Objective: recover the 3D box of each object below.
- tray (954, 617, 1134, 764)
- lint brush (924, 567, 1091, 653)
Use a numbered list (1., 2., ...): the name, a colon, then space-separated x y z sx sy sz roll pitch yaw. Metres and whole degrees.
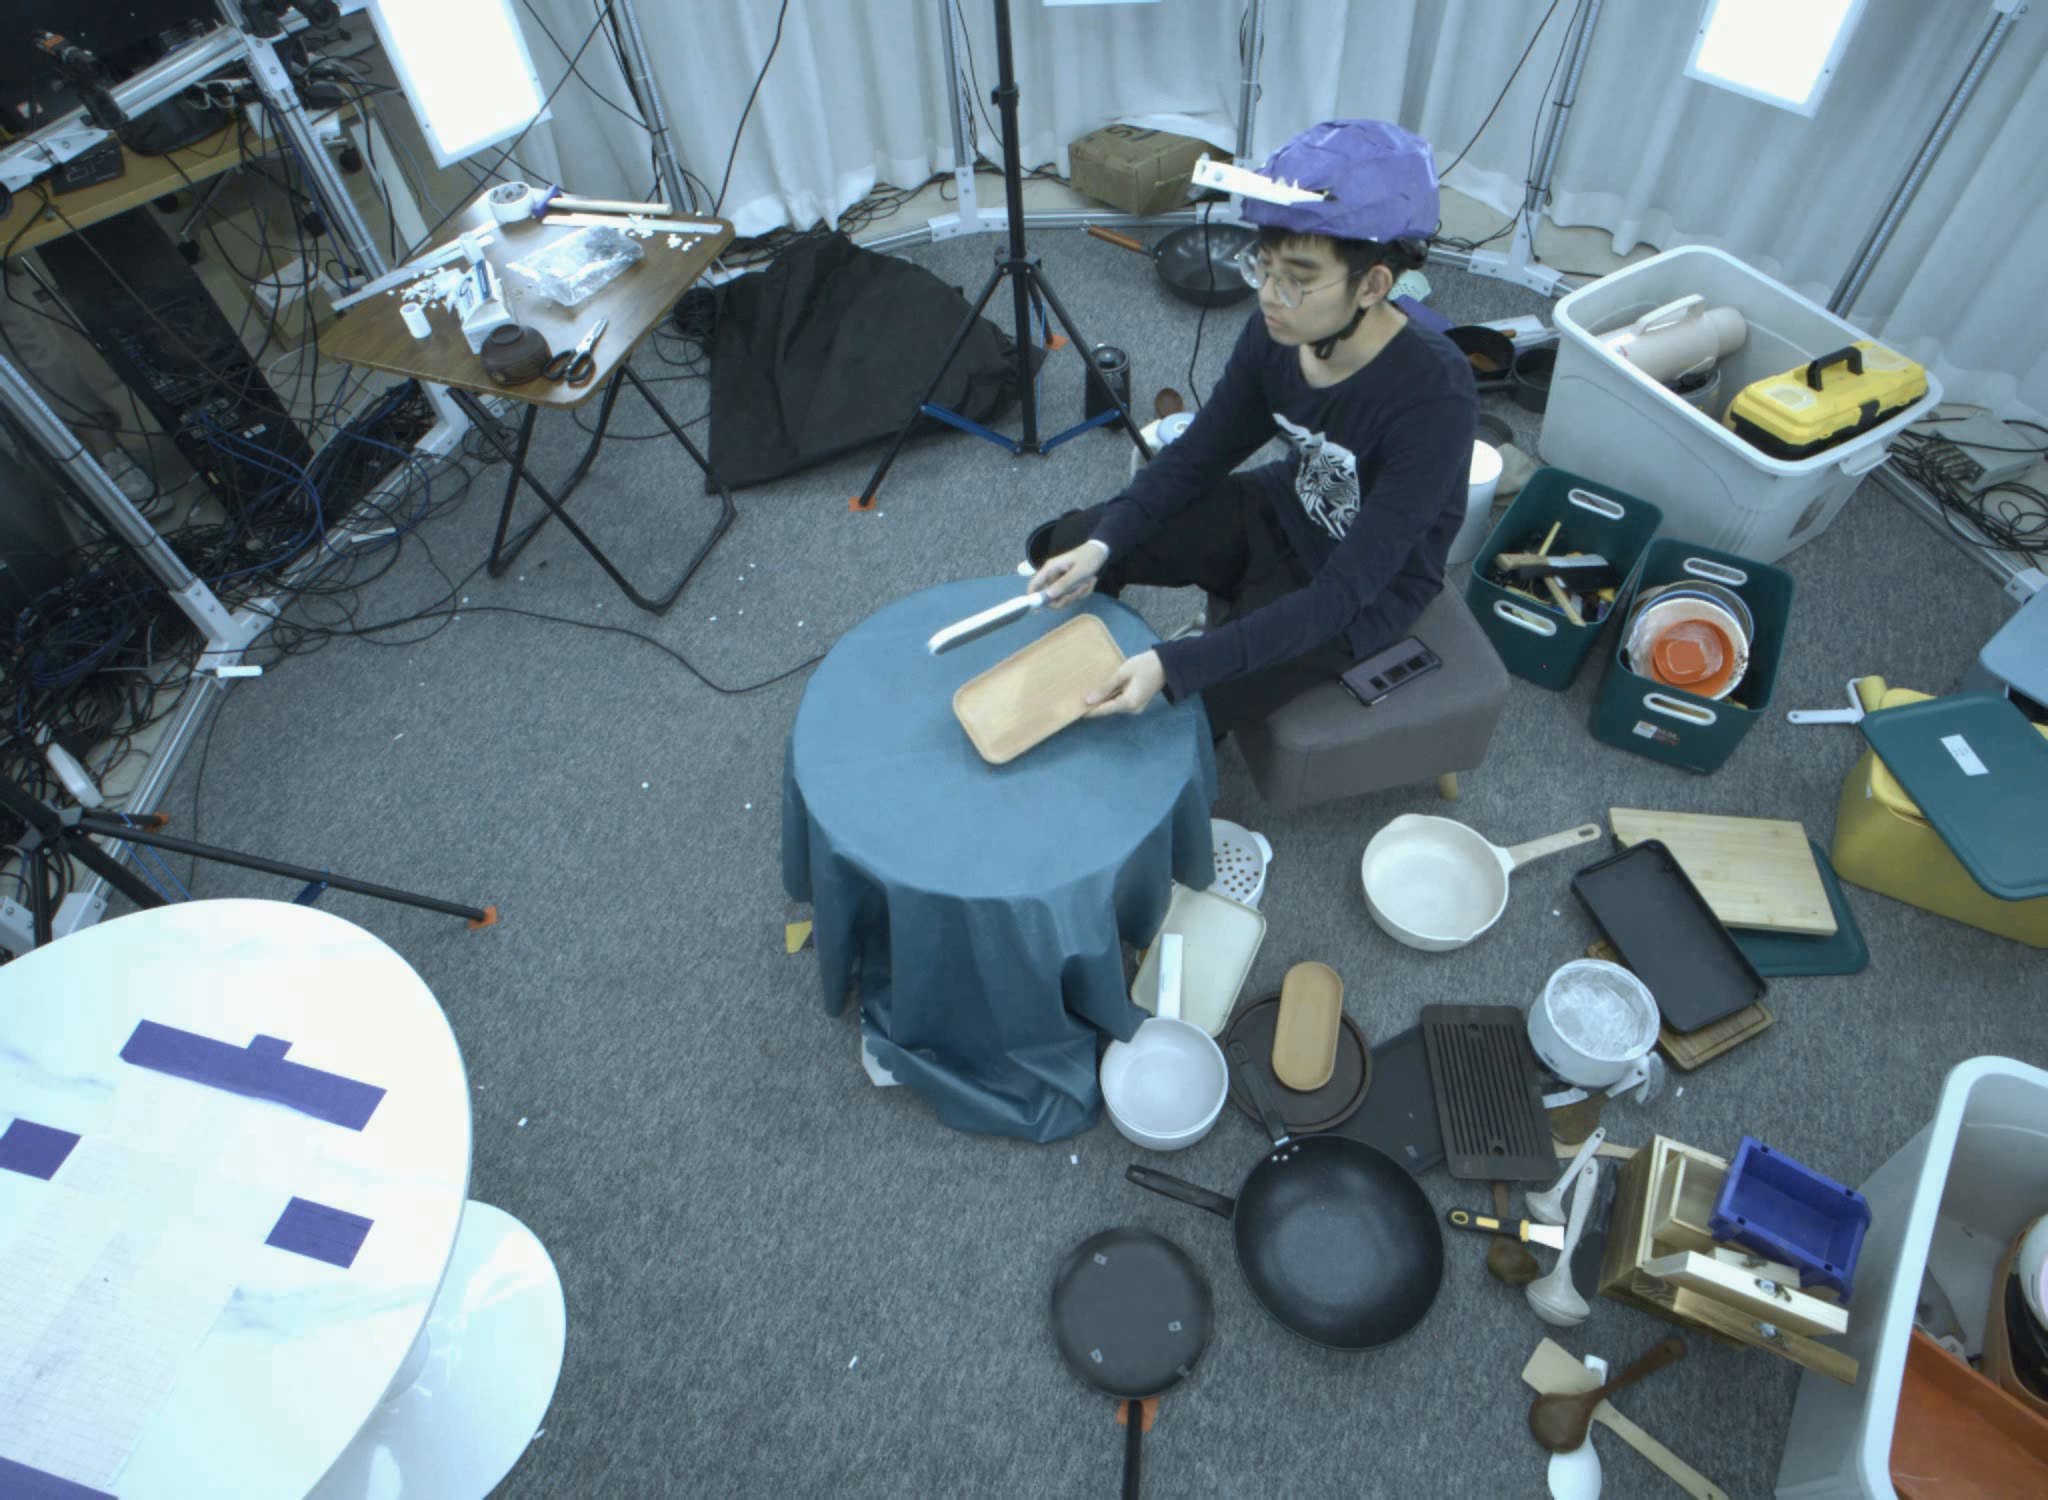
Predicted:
1. tray: 0.029 -0.086 1.778 0.251 0.023 0.130 -30 86 -4
2. lint brush: -0.020 -0.213 1.823 0.313 0.060 0.021 -28 75 -30
